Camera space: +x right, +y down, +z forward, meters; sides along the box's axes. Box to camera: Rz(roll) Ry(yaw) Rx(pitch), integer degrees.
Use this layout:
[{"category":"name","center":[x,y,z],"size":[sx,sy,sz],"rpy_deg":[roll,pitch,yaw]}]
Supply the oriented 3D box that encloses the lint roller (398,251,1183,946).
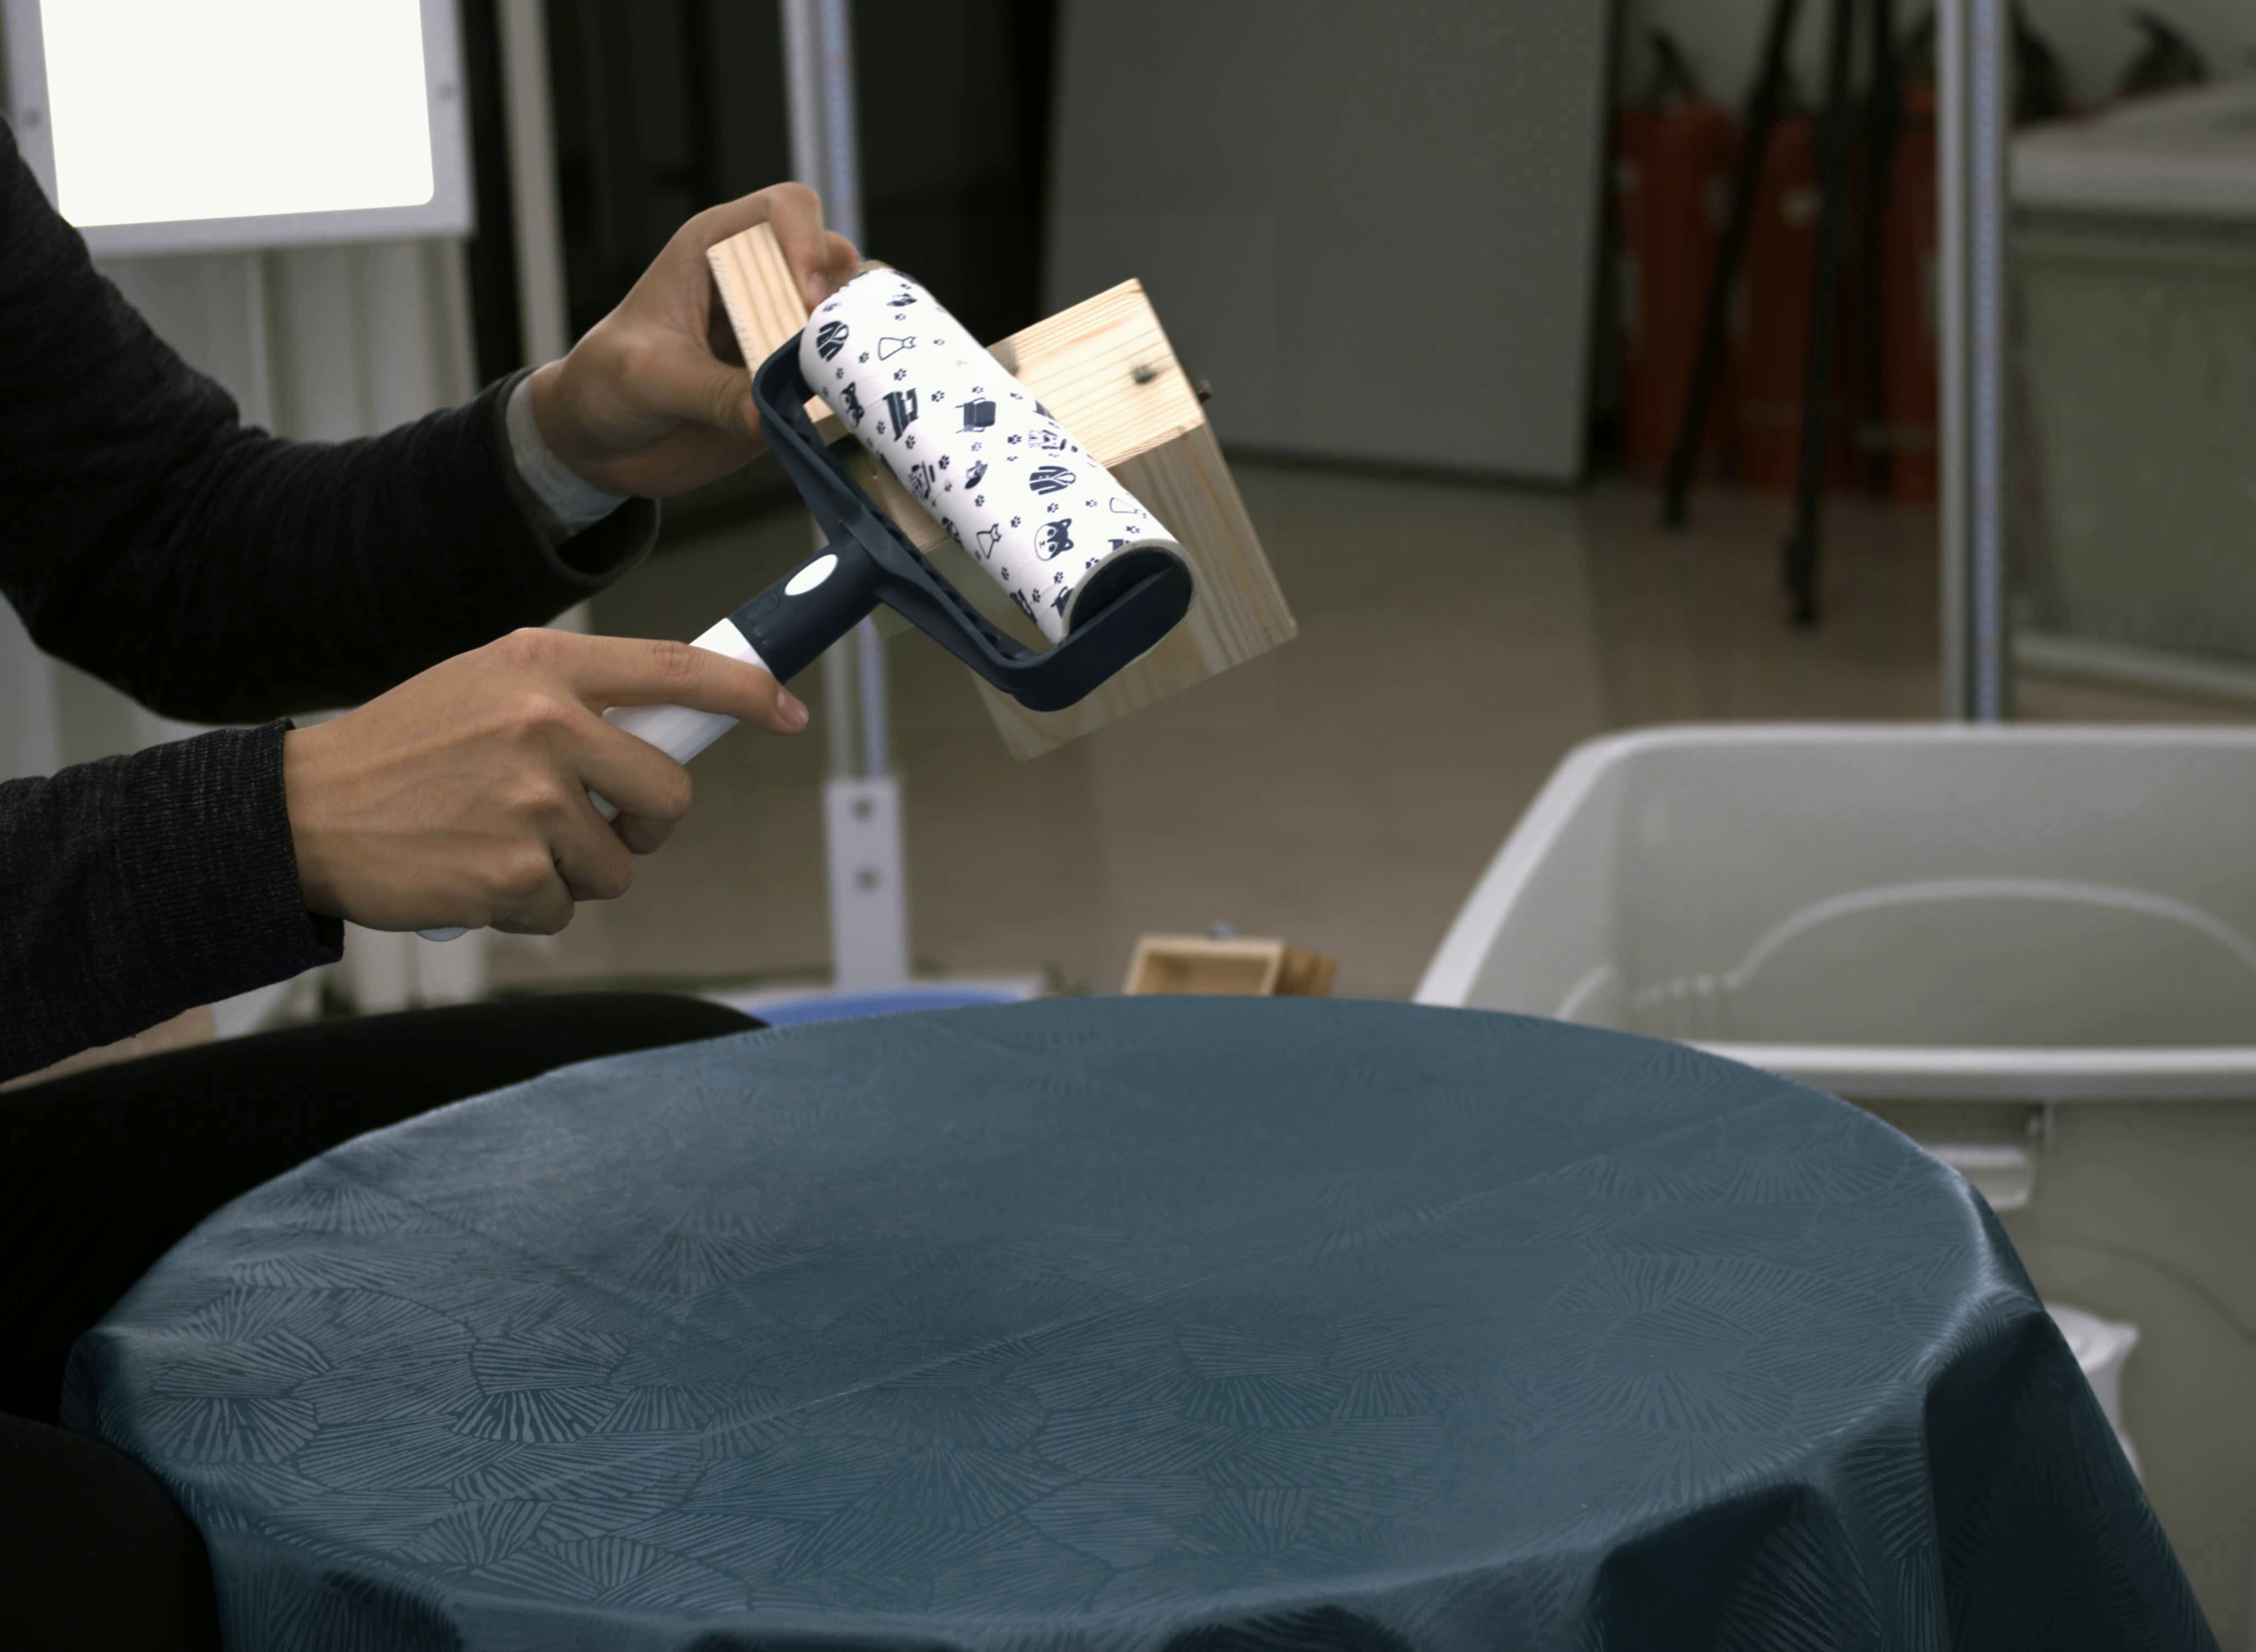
[{"category":"lint roller","center":[-0.120,-0.051,1.615],"size":[0.245,0.050,0.178],"rpy_deg":[-38,49,-6]}]

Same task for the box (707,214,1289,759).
[{"category":"box","center":[-0.042,-0.129,1.742],"size":[0.133,0.102,0.186],"rpy_deg":[-25,43,1]}]
